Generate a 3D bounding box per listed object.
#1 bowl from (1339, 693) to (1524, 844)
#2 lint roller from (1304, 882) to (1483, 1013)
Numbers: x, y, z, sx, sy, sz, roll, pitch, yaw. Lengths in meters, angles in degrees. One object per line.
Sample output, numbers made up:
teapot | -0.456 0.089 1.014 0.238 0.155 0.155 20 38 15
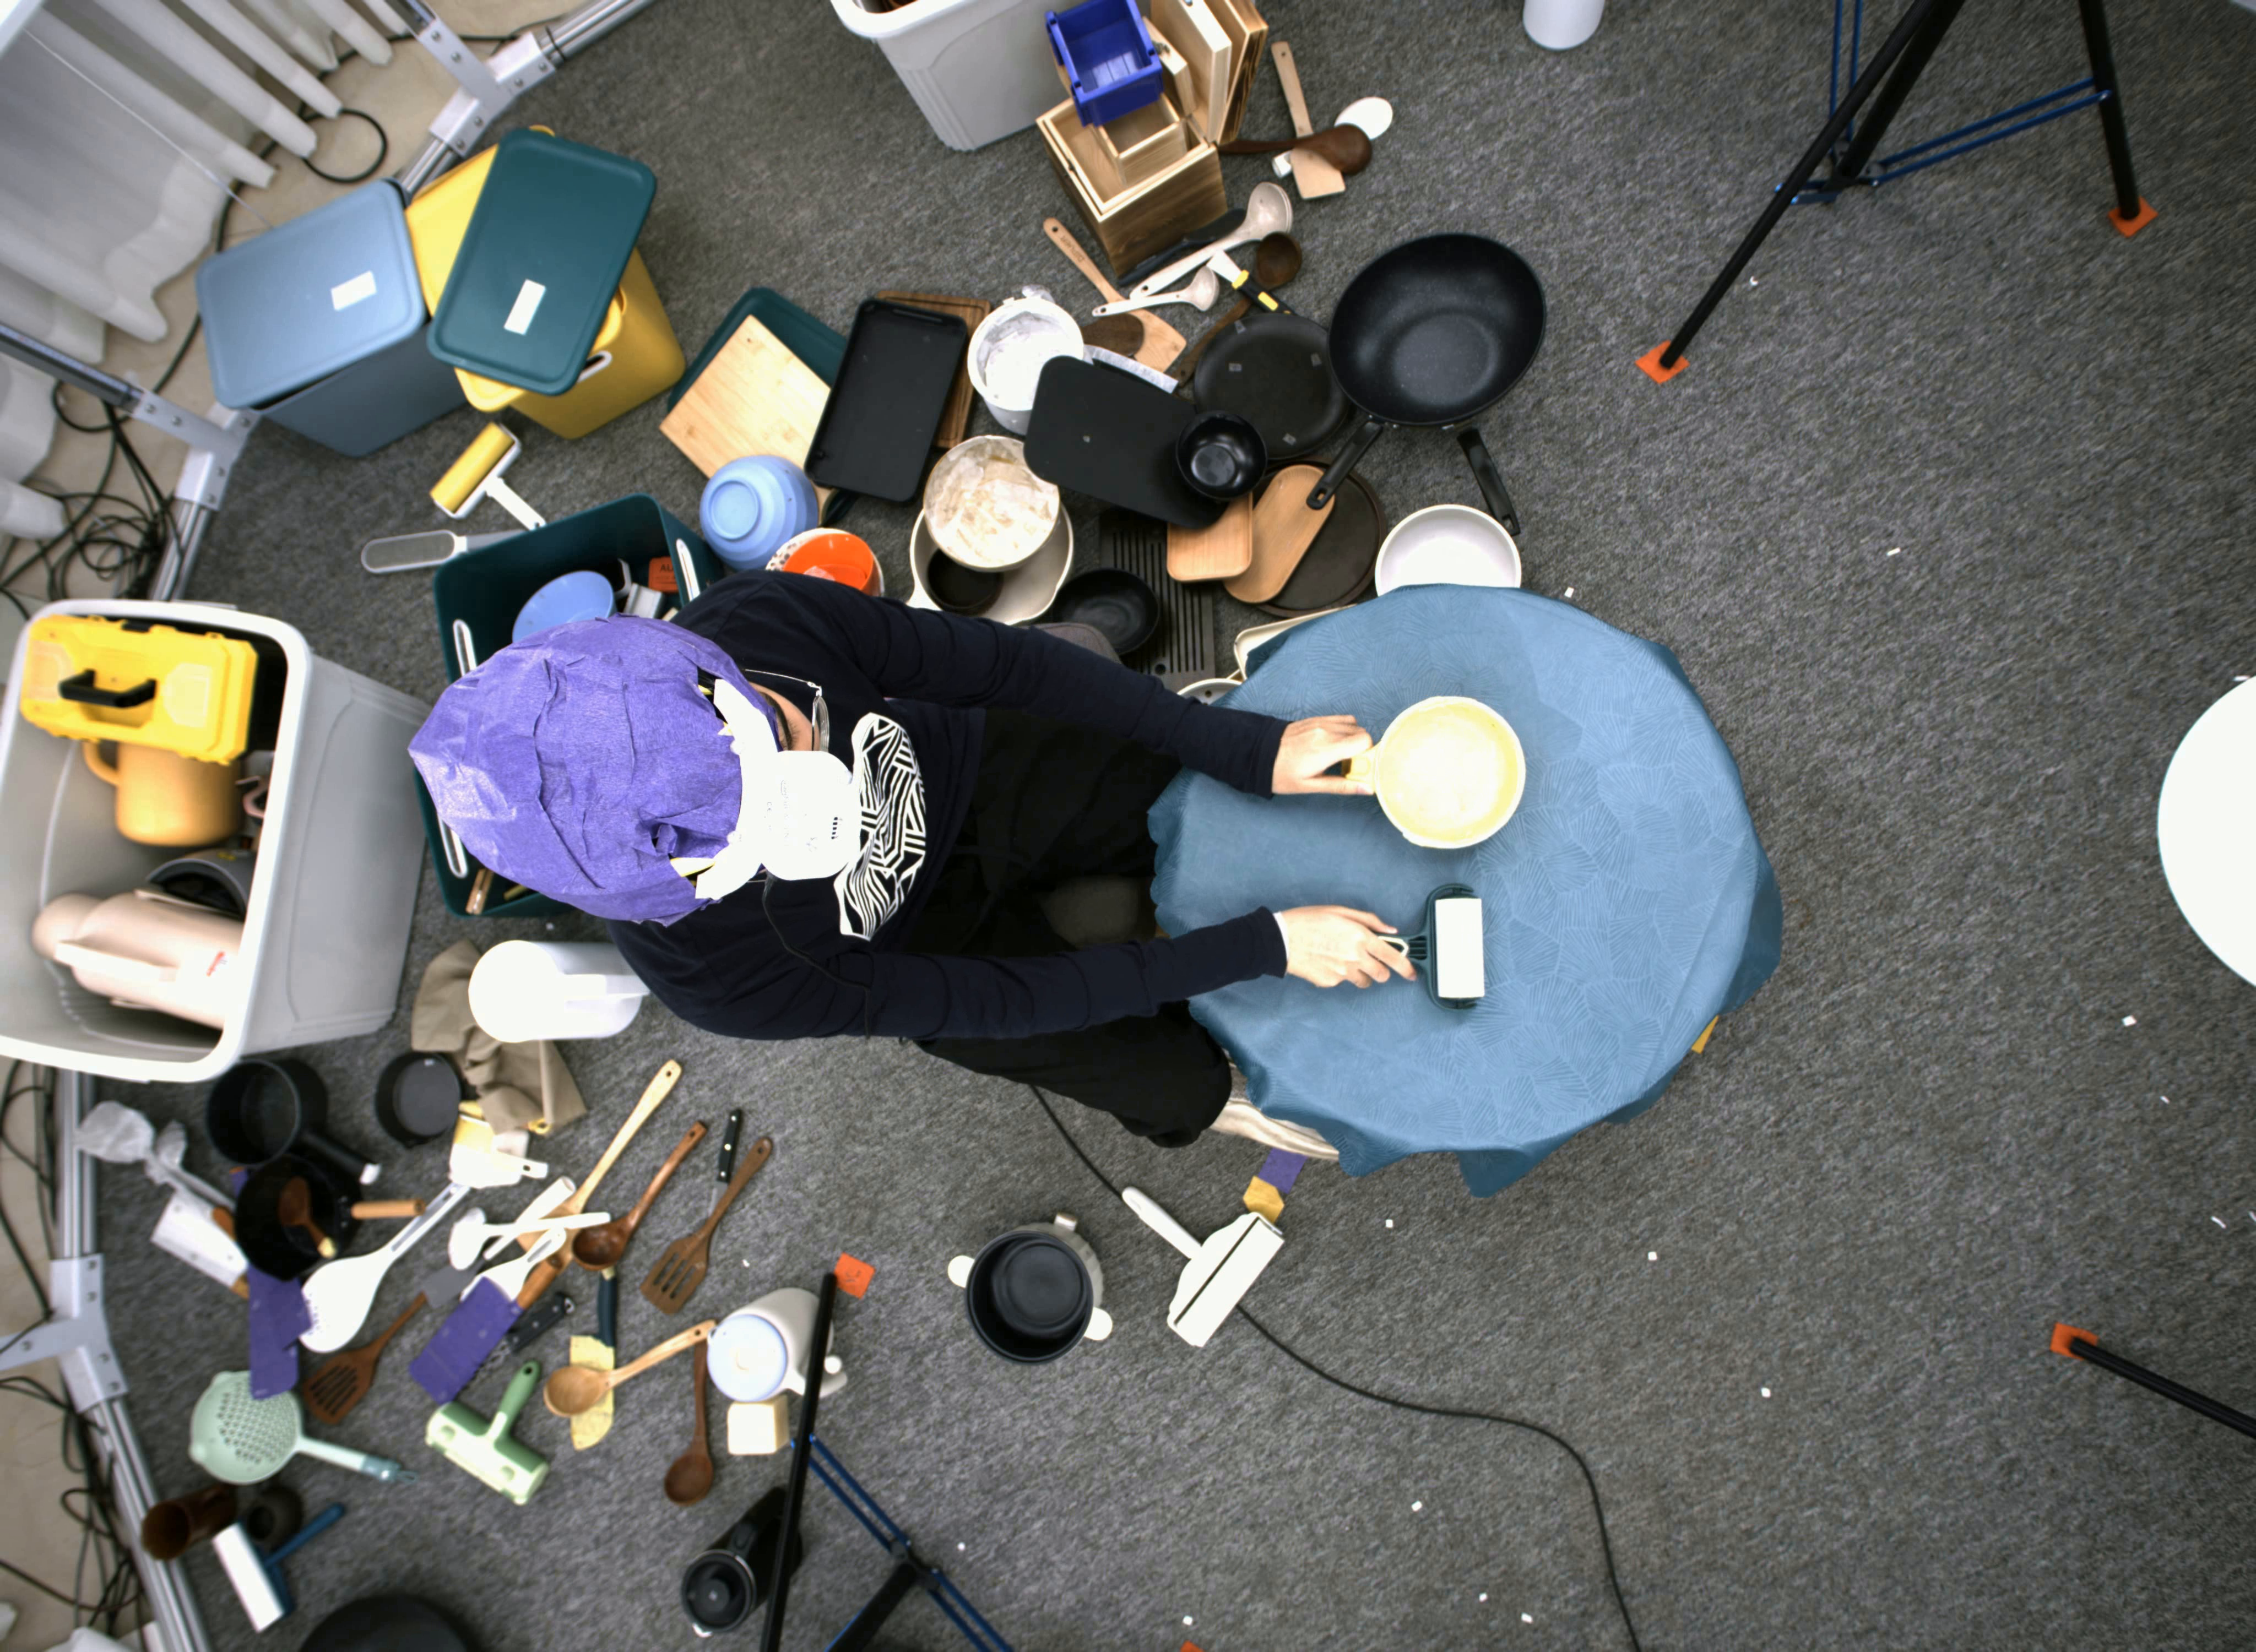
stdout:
bowl | 0.310 -0.061 1.418 0.179 0.074 0.153 -2 95 3
lint roller | 0.273 0.125 1.417 0.180 0.048 0.134 -2 90 1
